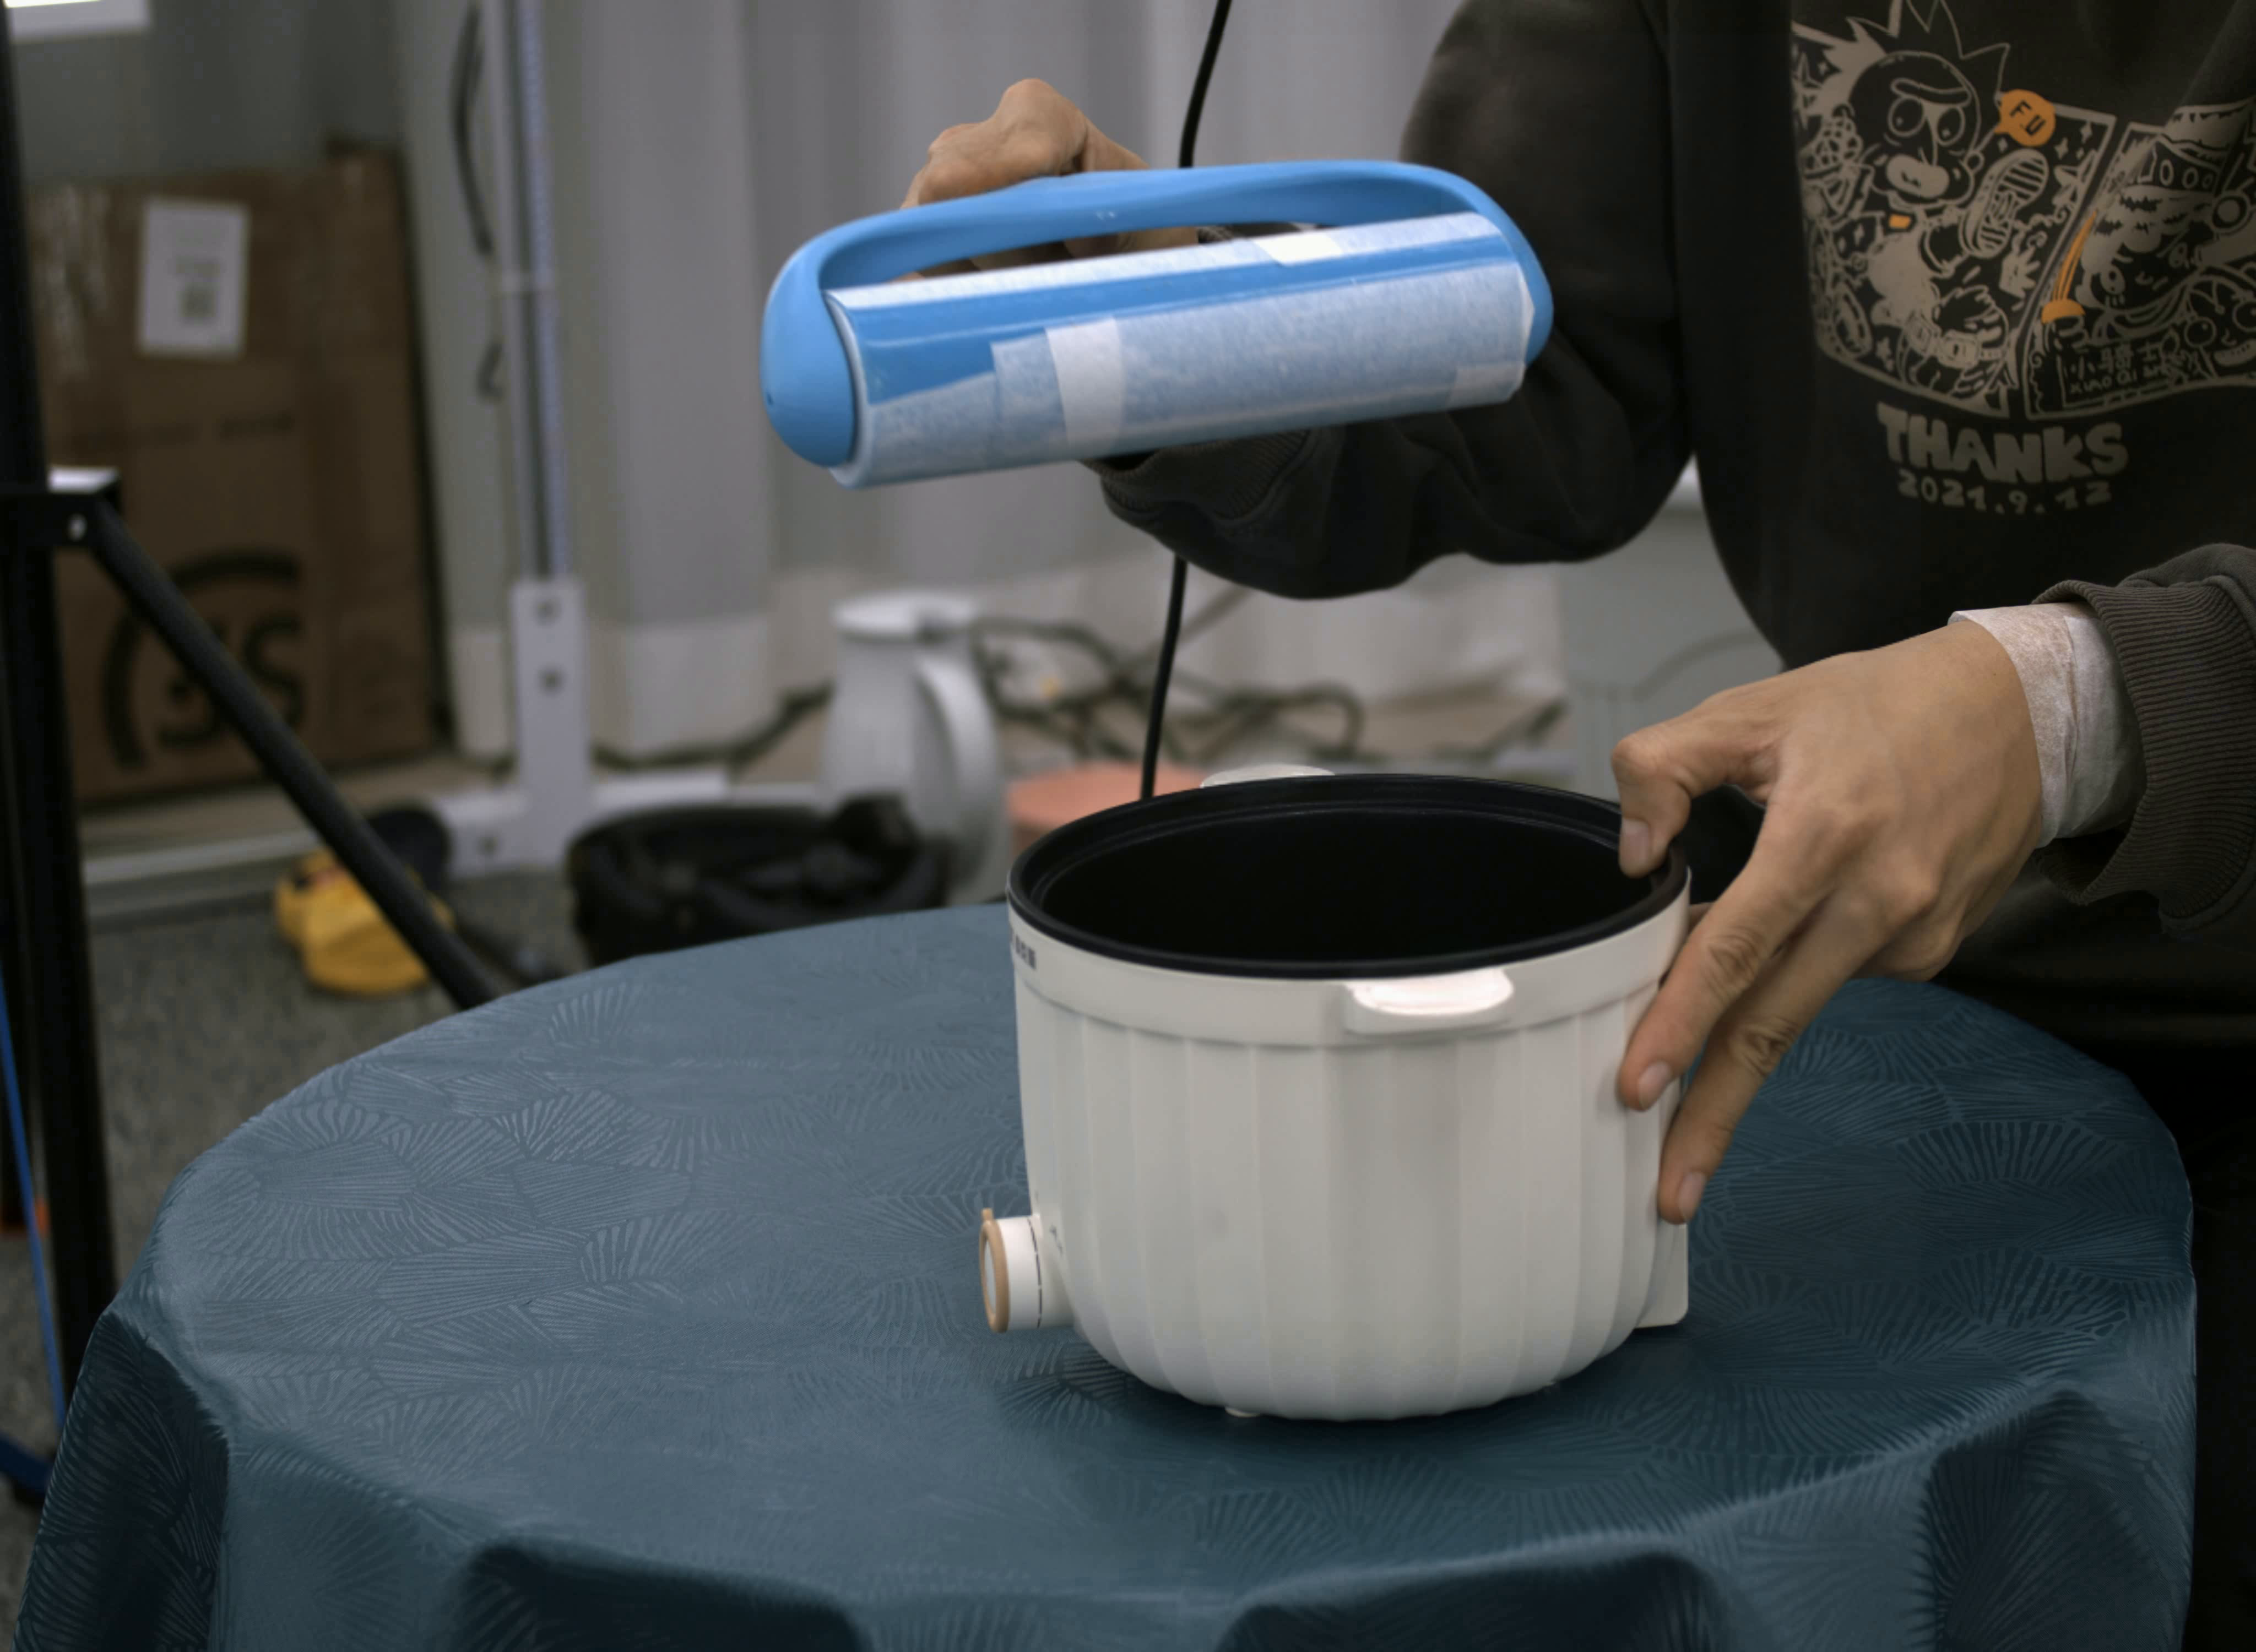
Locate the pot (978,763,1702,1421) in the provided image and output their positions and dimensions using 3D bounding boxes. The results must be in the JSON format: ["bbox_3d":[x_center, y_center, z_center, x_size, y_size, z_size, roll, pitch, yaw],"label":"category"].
[{"bbox_3d":[0.056,0.074,1.417,0.188,0.143,0.243,-2,14,-10],"label":"pot"}]

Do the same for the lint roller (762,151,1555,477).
[{"bbox_3d":[-0.013,-0.154,1.500,0.225,0.068,0.184,-11,23,-20],"label":"lint roller"}]
